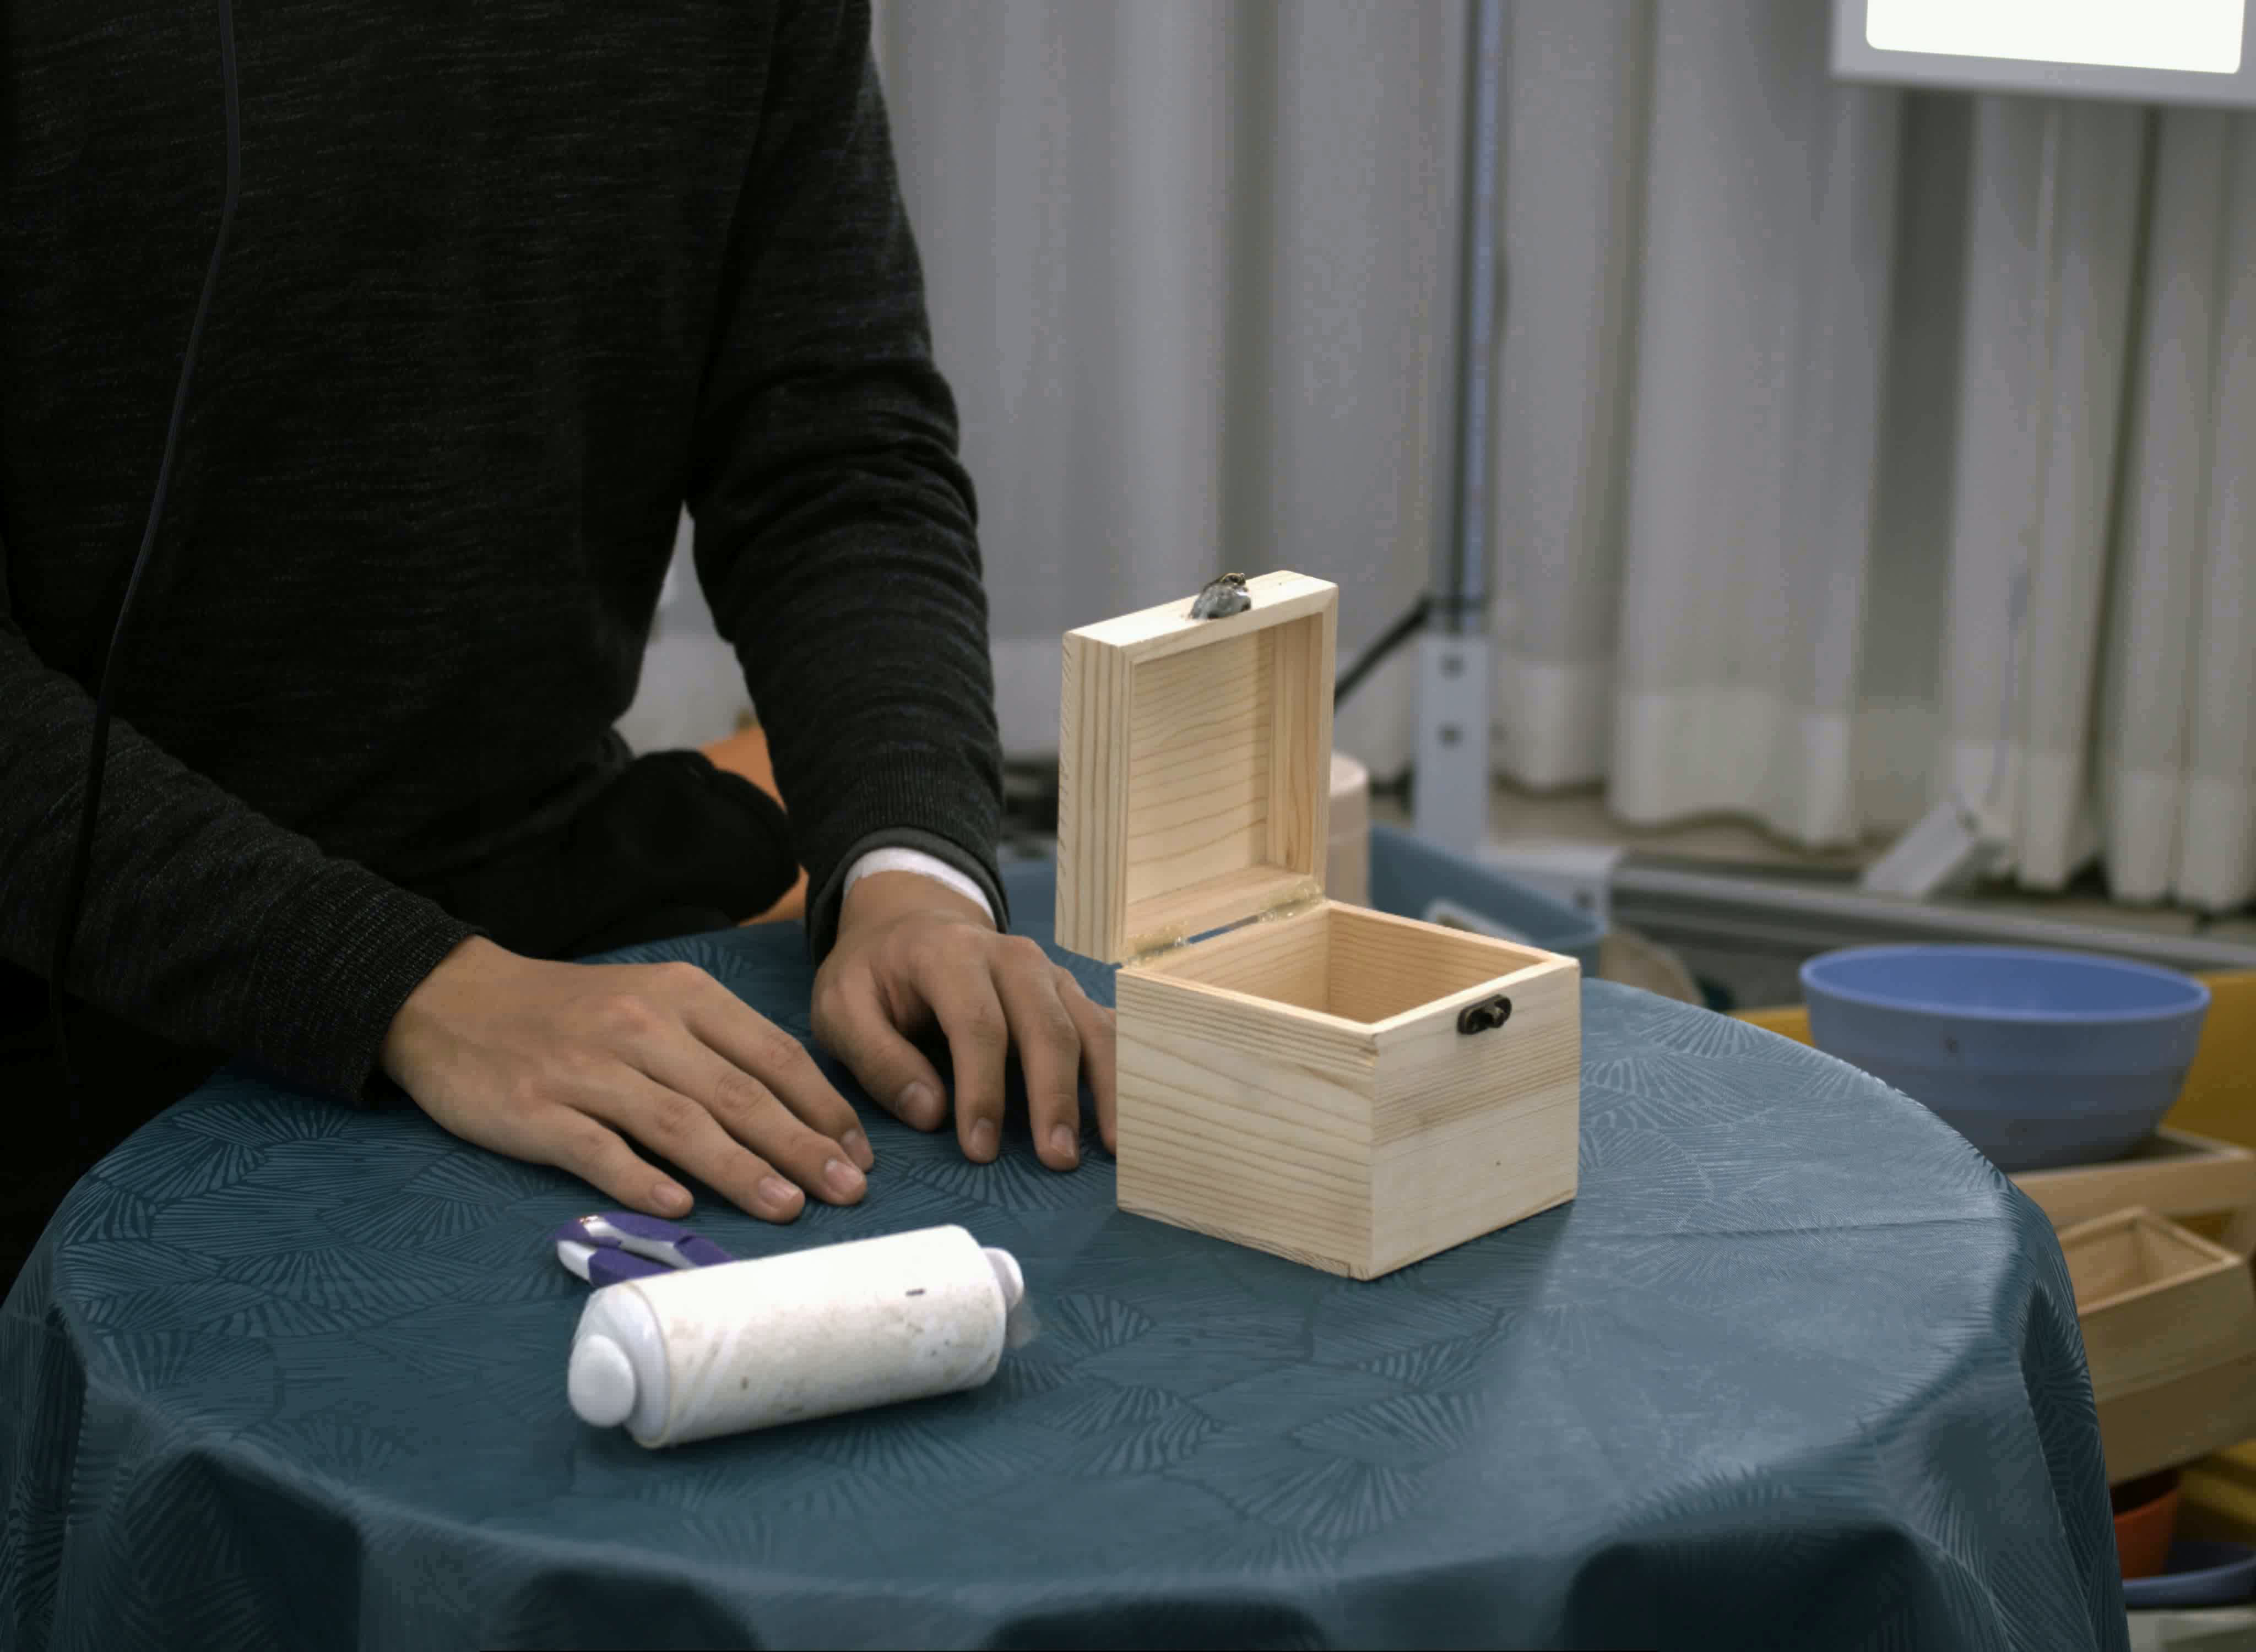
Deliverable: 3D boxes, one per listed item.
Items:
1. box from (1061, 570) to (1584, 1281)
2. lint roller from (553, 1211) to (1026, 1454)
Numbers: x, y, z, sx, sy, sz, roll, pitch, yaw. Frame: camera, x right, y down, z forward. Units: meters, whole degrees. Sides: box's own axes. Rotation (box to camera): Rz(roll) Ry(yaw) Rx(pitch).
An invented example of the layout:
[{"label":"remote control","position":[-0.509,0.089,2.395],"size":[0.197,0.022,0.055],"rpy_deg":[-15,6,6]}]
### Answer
[{"label":"box","position":[0.061,0.026,1.591],"size":[0.132,0.186,0.103],"rpy_deg":[13,20,40]},{"label":"lint roller","position":[-0.119,0.123,1.489],"size":[0.133,0.050,0.178],"rpy_deg":[-9,19,-26]}]
